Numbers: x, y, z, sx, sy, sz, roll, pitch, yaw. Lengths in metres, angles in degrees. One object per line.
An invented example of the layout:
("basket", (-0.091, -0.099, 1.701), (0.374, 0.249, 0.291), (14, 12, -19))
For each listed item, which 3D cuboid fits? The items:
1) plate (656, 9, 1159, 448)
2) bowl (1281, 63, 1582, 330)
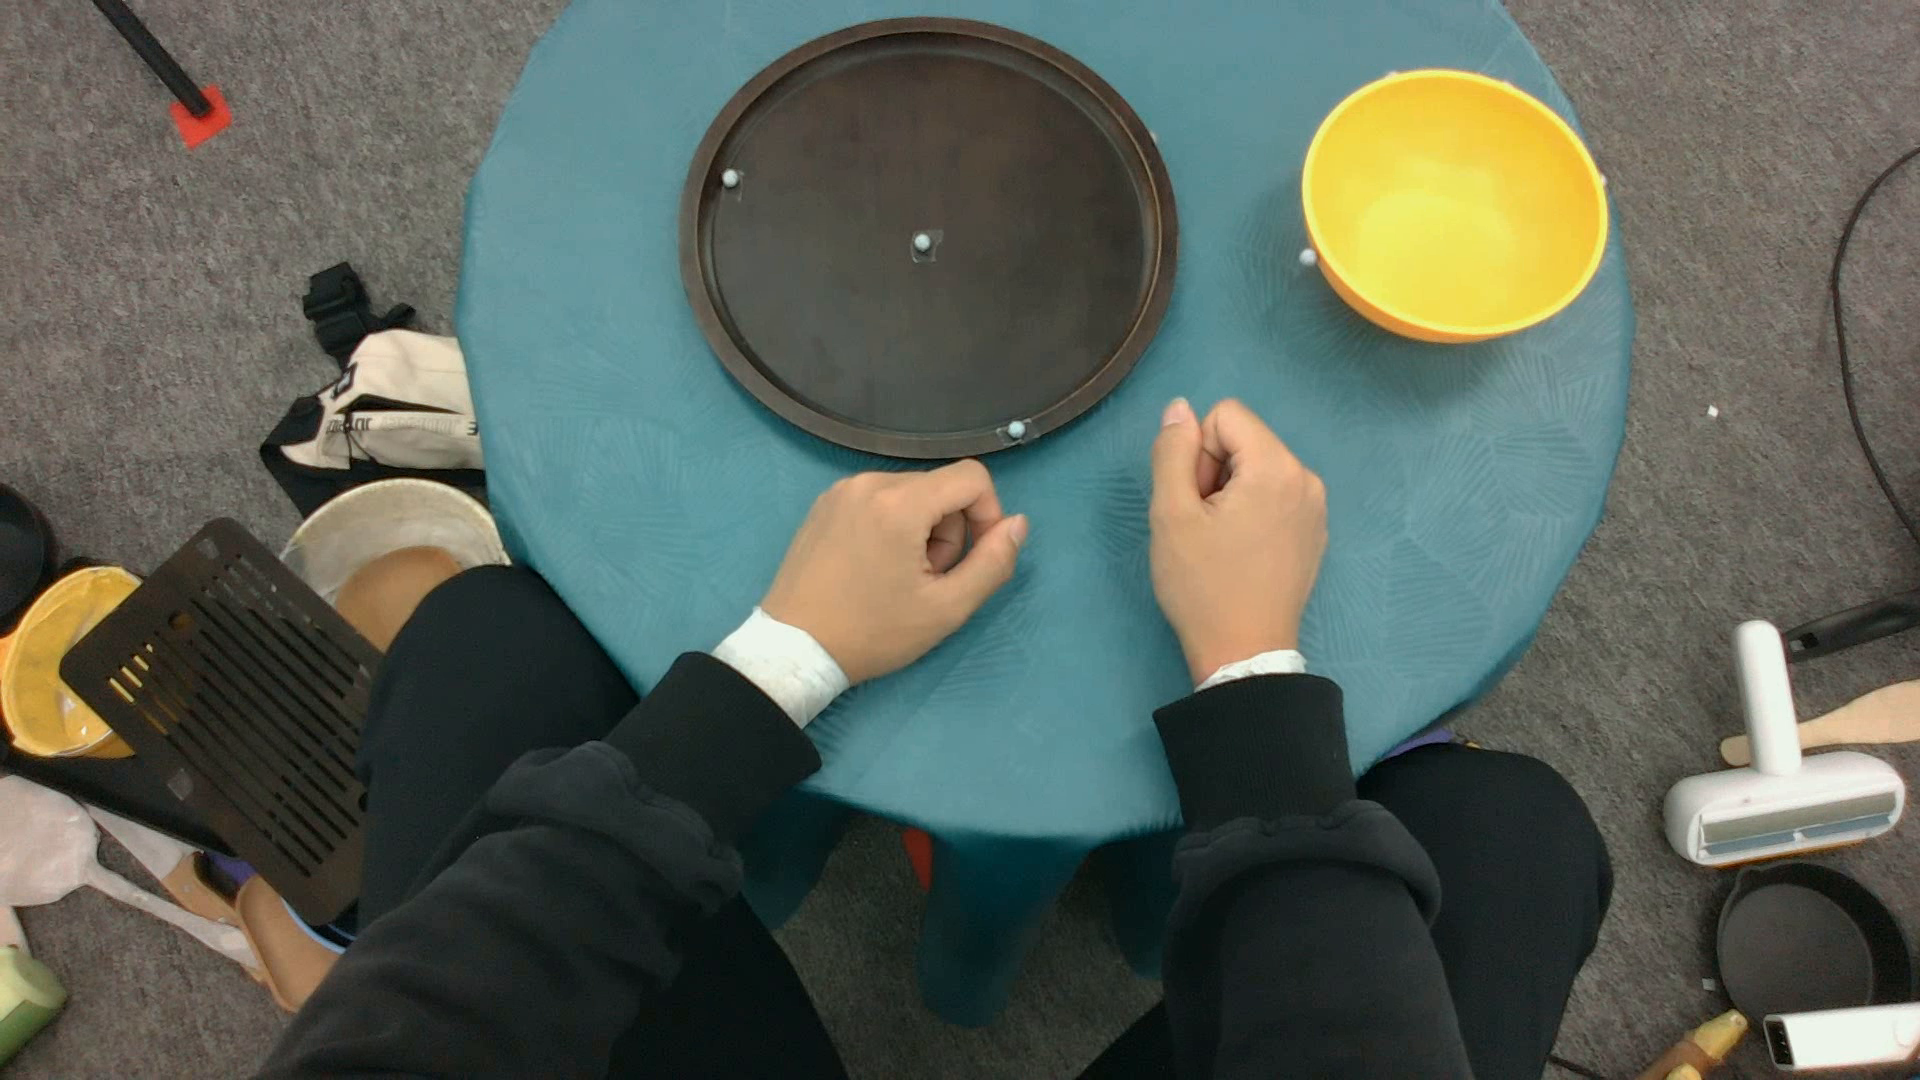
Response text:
("plate", (-0.026, -0.162, 0.700), (0.255, 0.029, 0.255), (1, 72, -3))
("bowl", (0.228, -0.162, 0.691), (0.145, 0.060, 0.145), (0, 72, 0))
